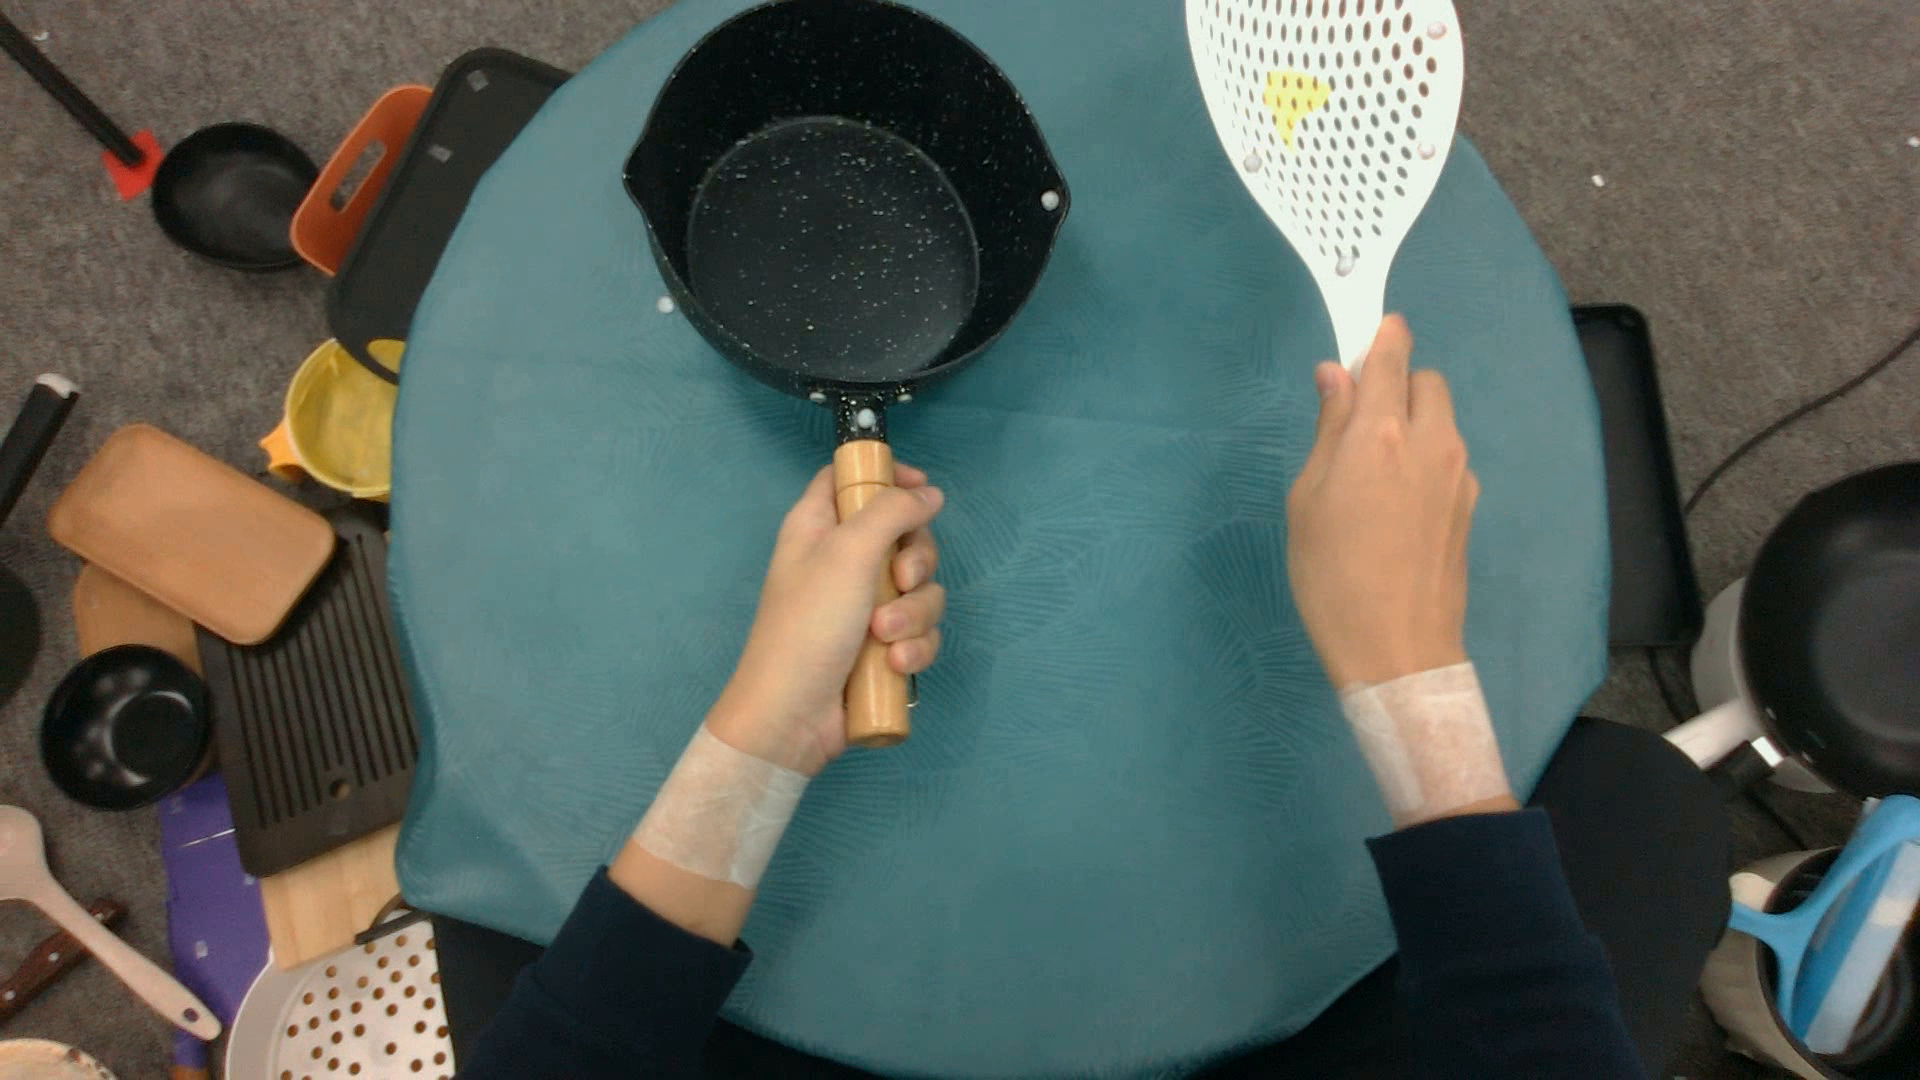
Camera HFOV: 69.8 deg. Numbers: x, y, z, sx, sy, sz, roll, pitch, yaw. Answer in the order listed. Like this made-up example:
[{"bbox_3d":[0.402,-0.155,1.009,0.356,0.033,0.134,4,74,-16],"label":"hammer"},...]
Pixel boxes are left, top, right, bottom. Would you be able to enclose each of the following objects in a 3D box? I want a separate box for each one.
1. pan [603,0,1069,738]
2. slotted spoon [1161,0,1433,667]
[{"bbox_3d":[-0.052,-0.080,0.626,0.208,0.108,0.343,-2,78,-12],"label":"pan"},{"bbox_3d":[0.163,-0.118,0.614,0.137,0.050,0.348,-2,73,-16],"label":"slotted spoon"}]
